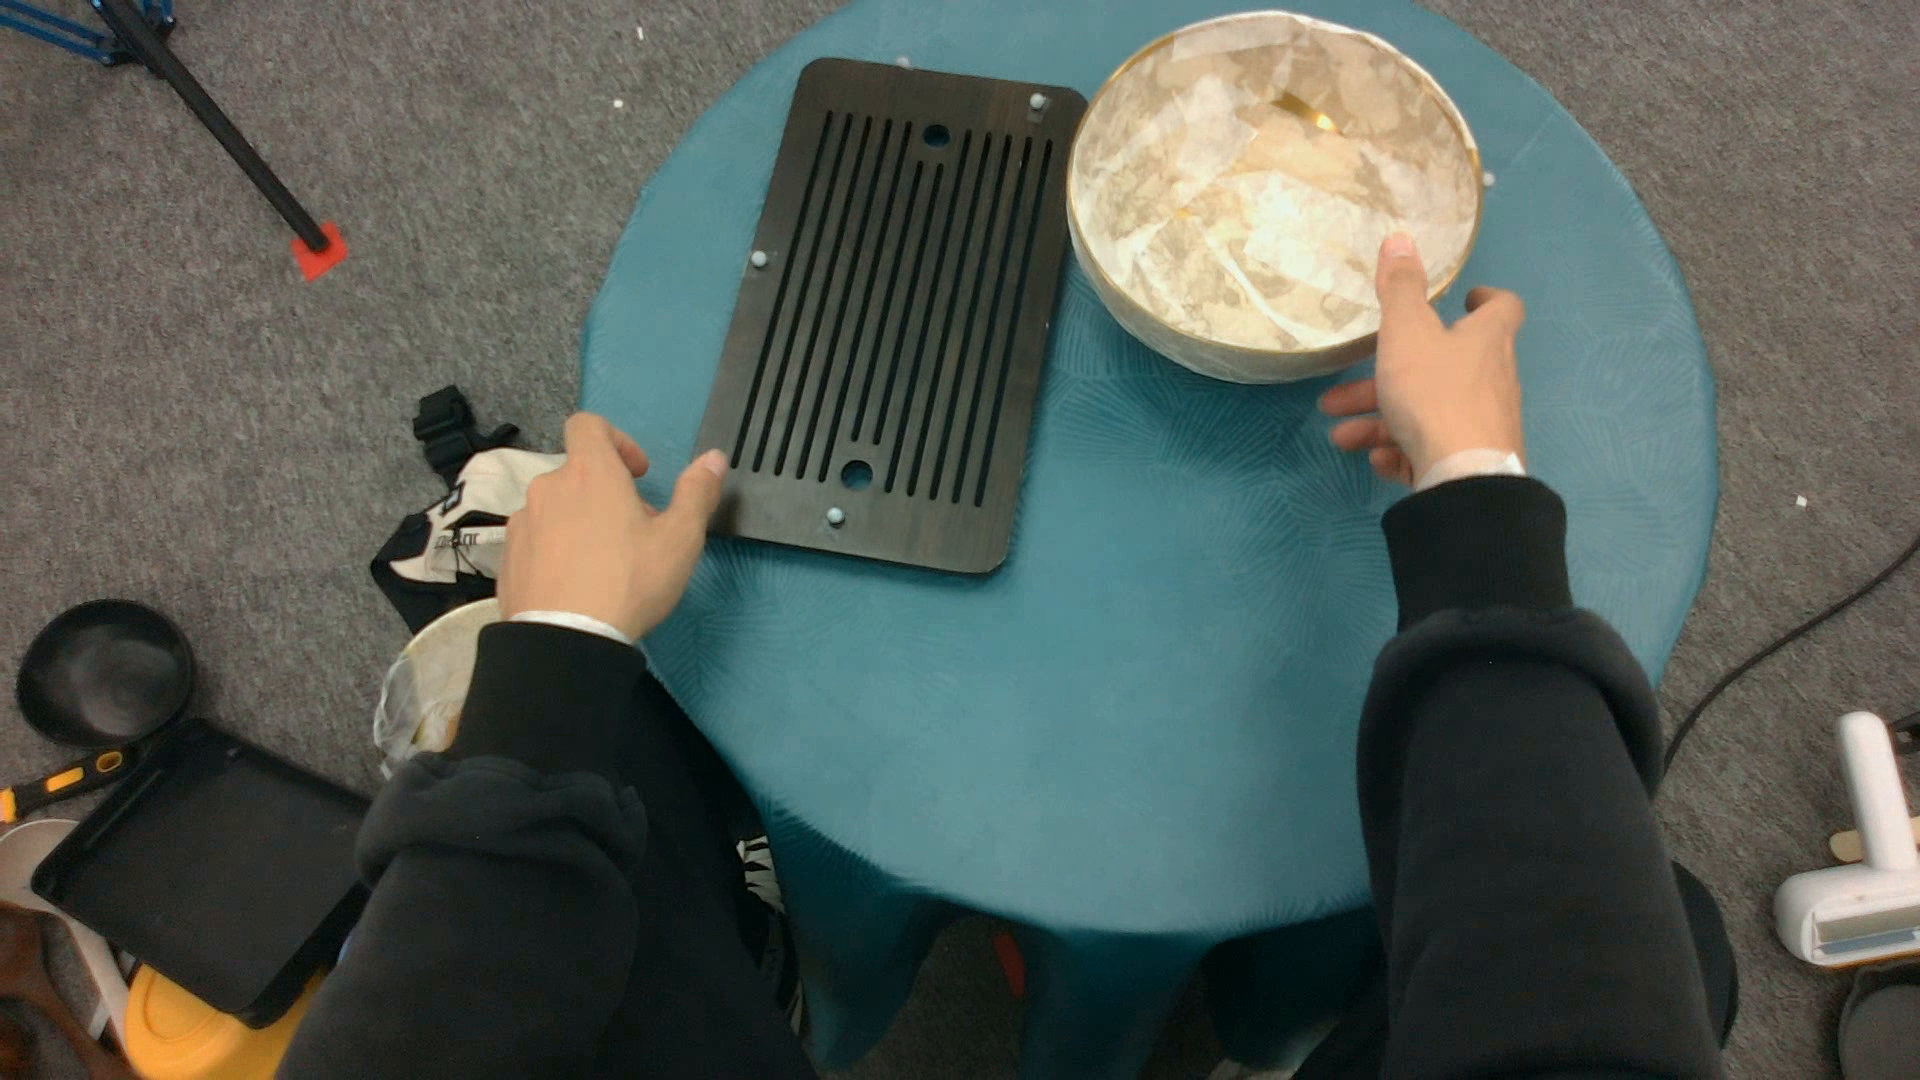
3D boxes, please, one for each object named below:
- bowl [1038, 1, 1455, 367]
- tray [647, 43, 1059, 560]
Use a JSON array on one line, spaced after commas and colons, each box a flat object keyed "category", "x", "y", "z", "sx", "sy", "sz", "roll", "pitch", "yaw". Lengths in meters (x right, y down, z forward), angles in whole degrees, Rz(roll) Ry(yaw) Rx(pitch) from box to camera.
[{"category": "bowl", "x": 0.138, "y": -0.167, "z": 0.714, "sx": 0.215, "sy": 0.094, "sz": 0.215, "roll": 0, "pitch": 67, "yaw": 0}, {"category": "tray", "x": -0.050, "y": -0.139, "z": 0.746, "sx": 0.170, "sy": 0.018, "sz": 0.307, "roll": 9, "pitch": 68, "yaw": 5}]
